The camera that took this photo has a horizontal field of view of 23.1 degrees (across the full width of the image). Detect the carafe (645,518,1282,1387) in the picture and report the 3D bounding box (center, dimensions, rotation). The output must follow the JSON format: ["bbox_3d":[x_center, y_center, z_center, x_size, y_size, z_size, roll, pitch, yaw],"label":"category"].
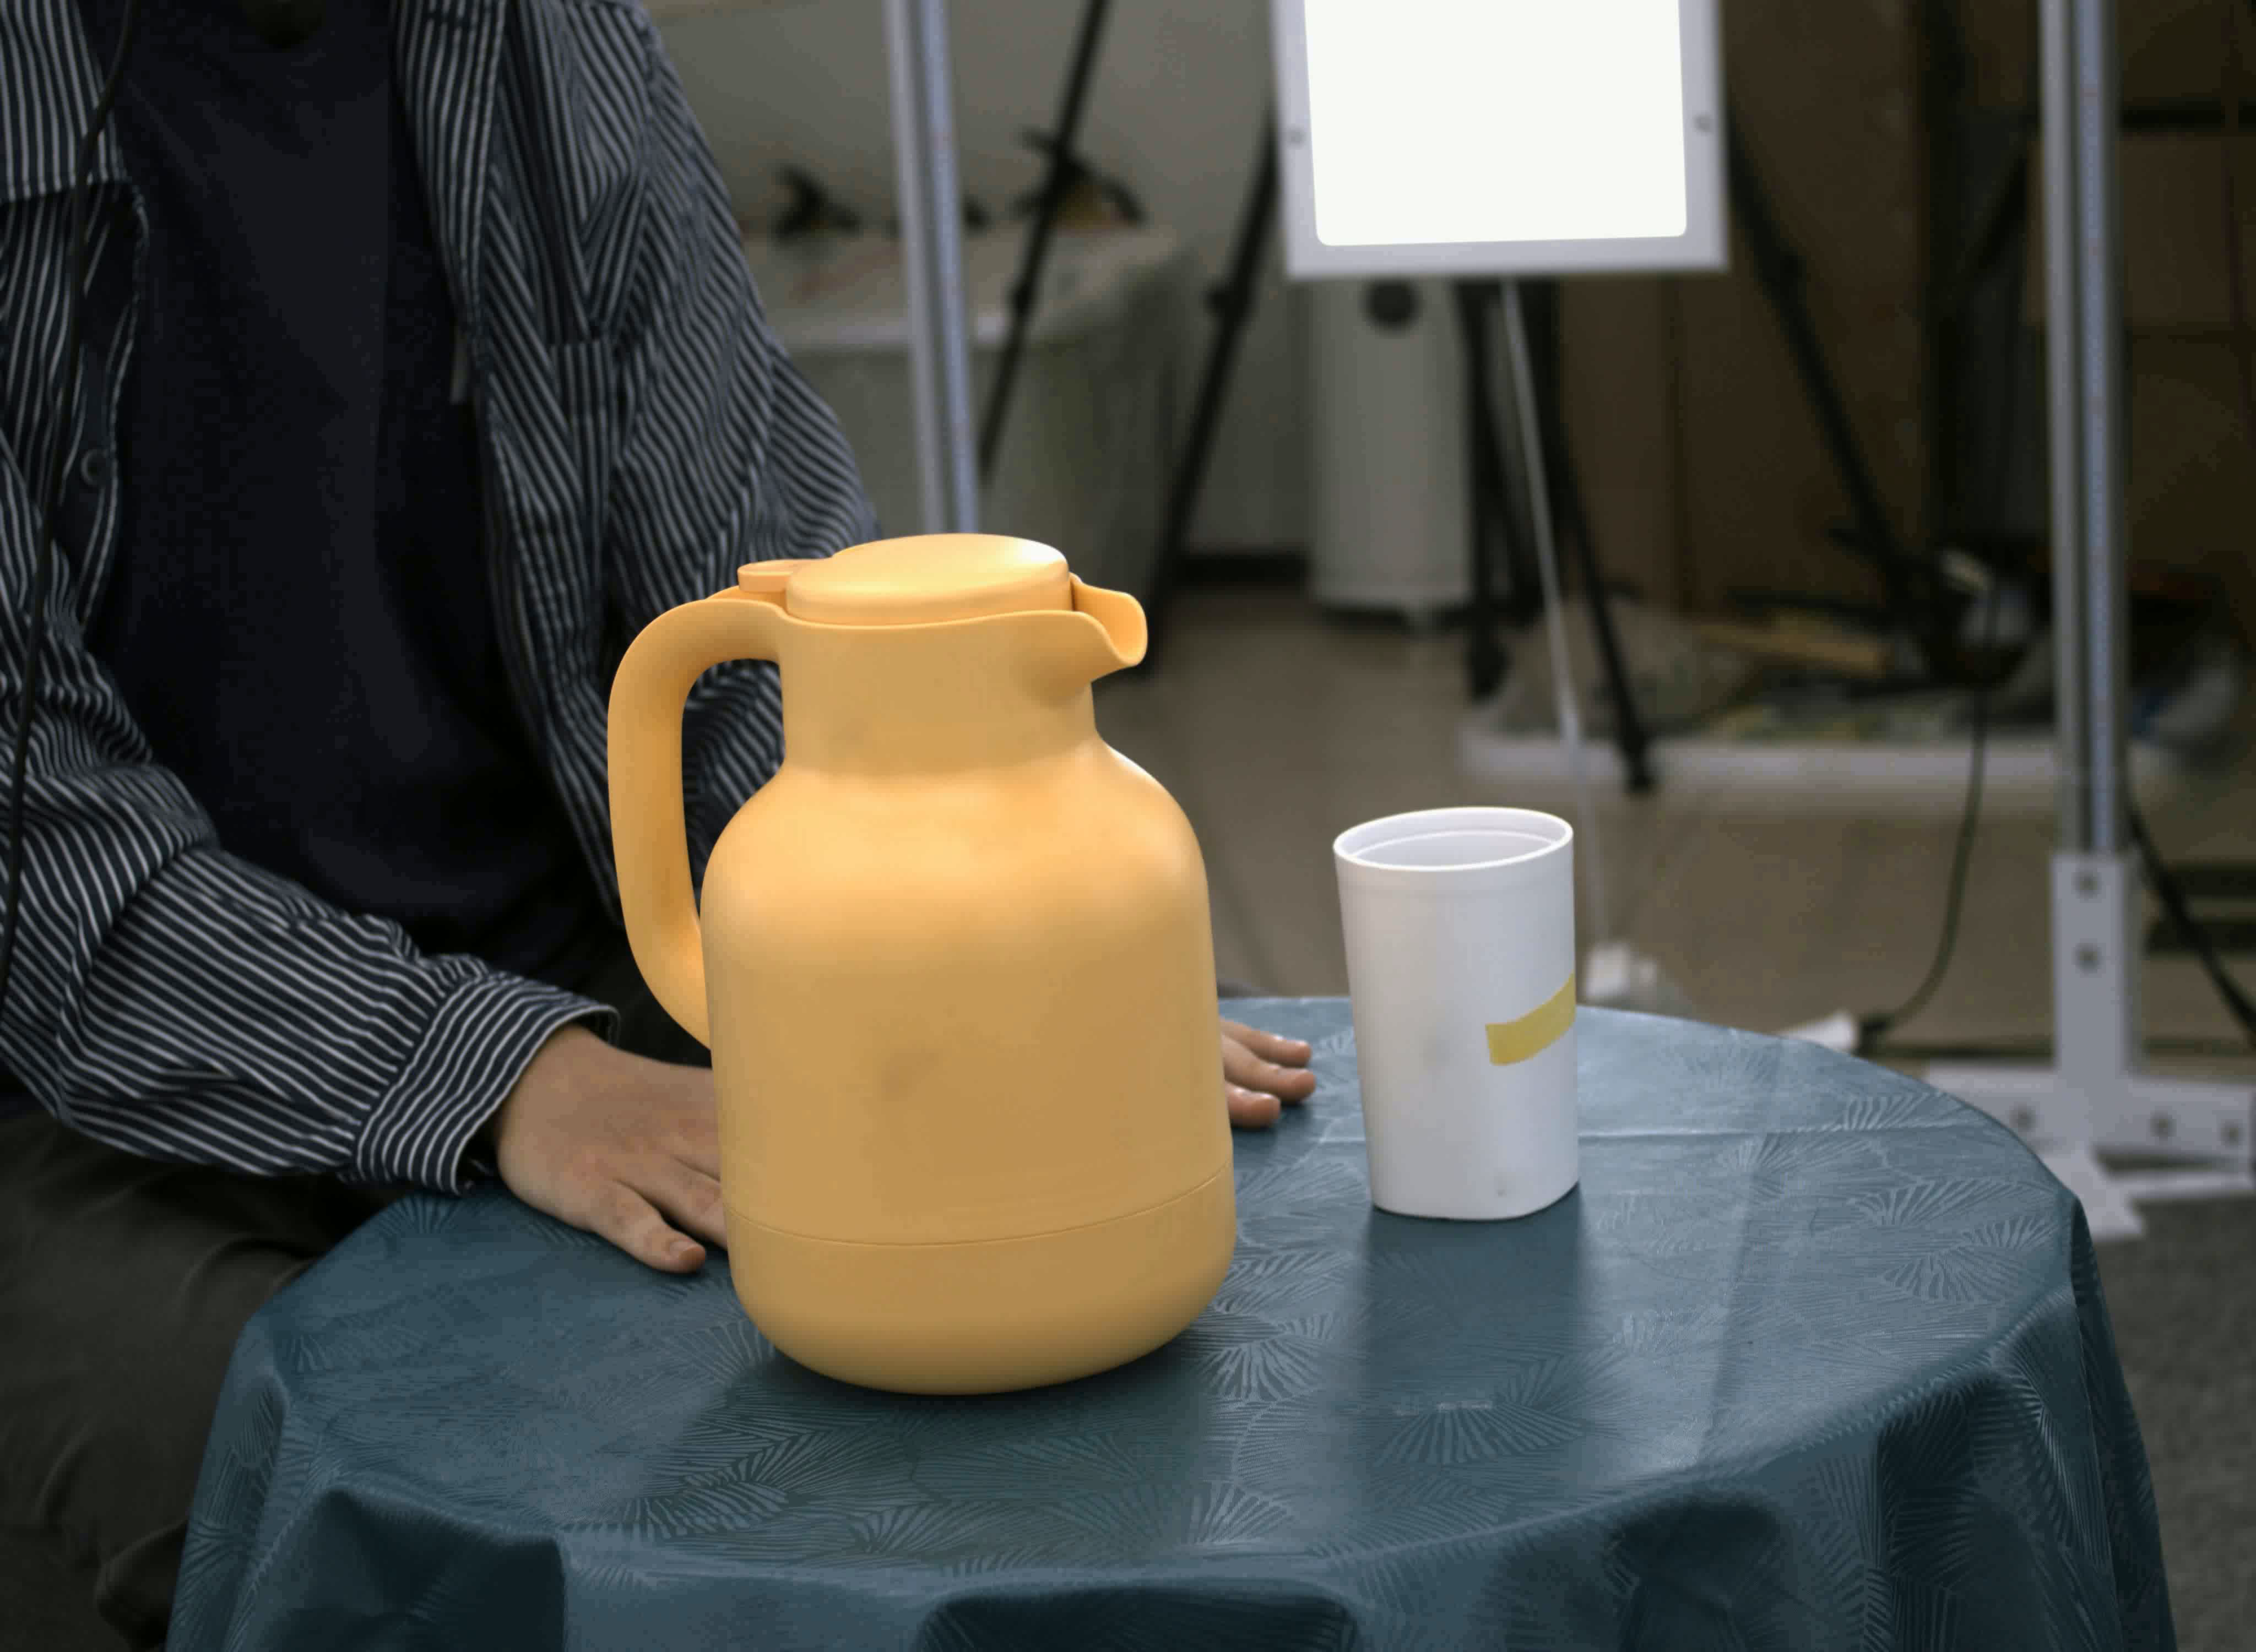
[{"bbox_3d":[-0.055,0.034,1.739,0.206,0.261,0.160,3,15,29],"label":"carafe"}]

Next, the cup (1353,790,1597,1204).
[{"bbox_3d":[0.121,0.058,1.854,0.081,0.126,0.081,-5,14,0],"label":"cup"}]
